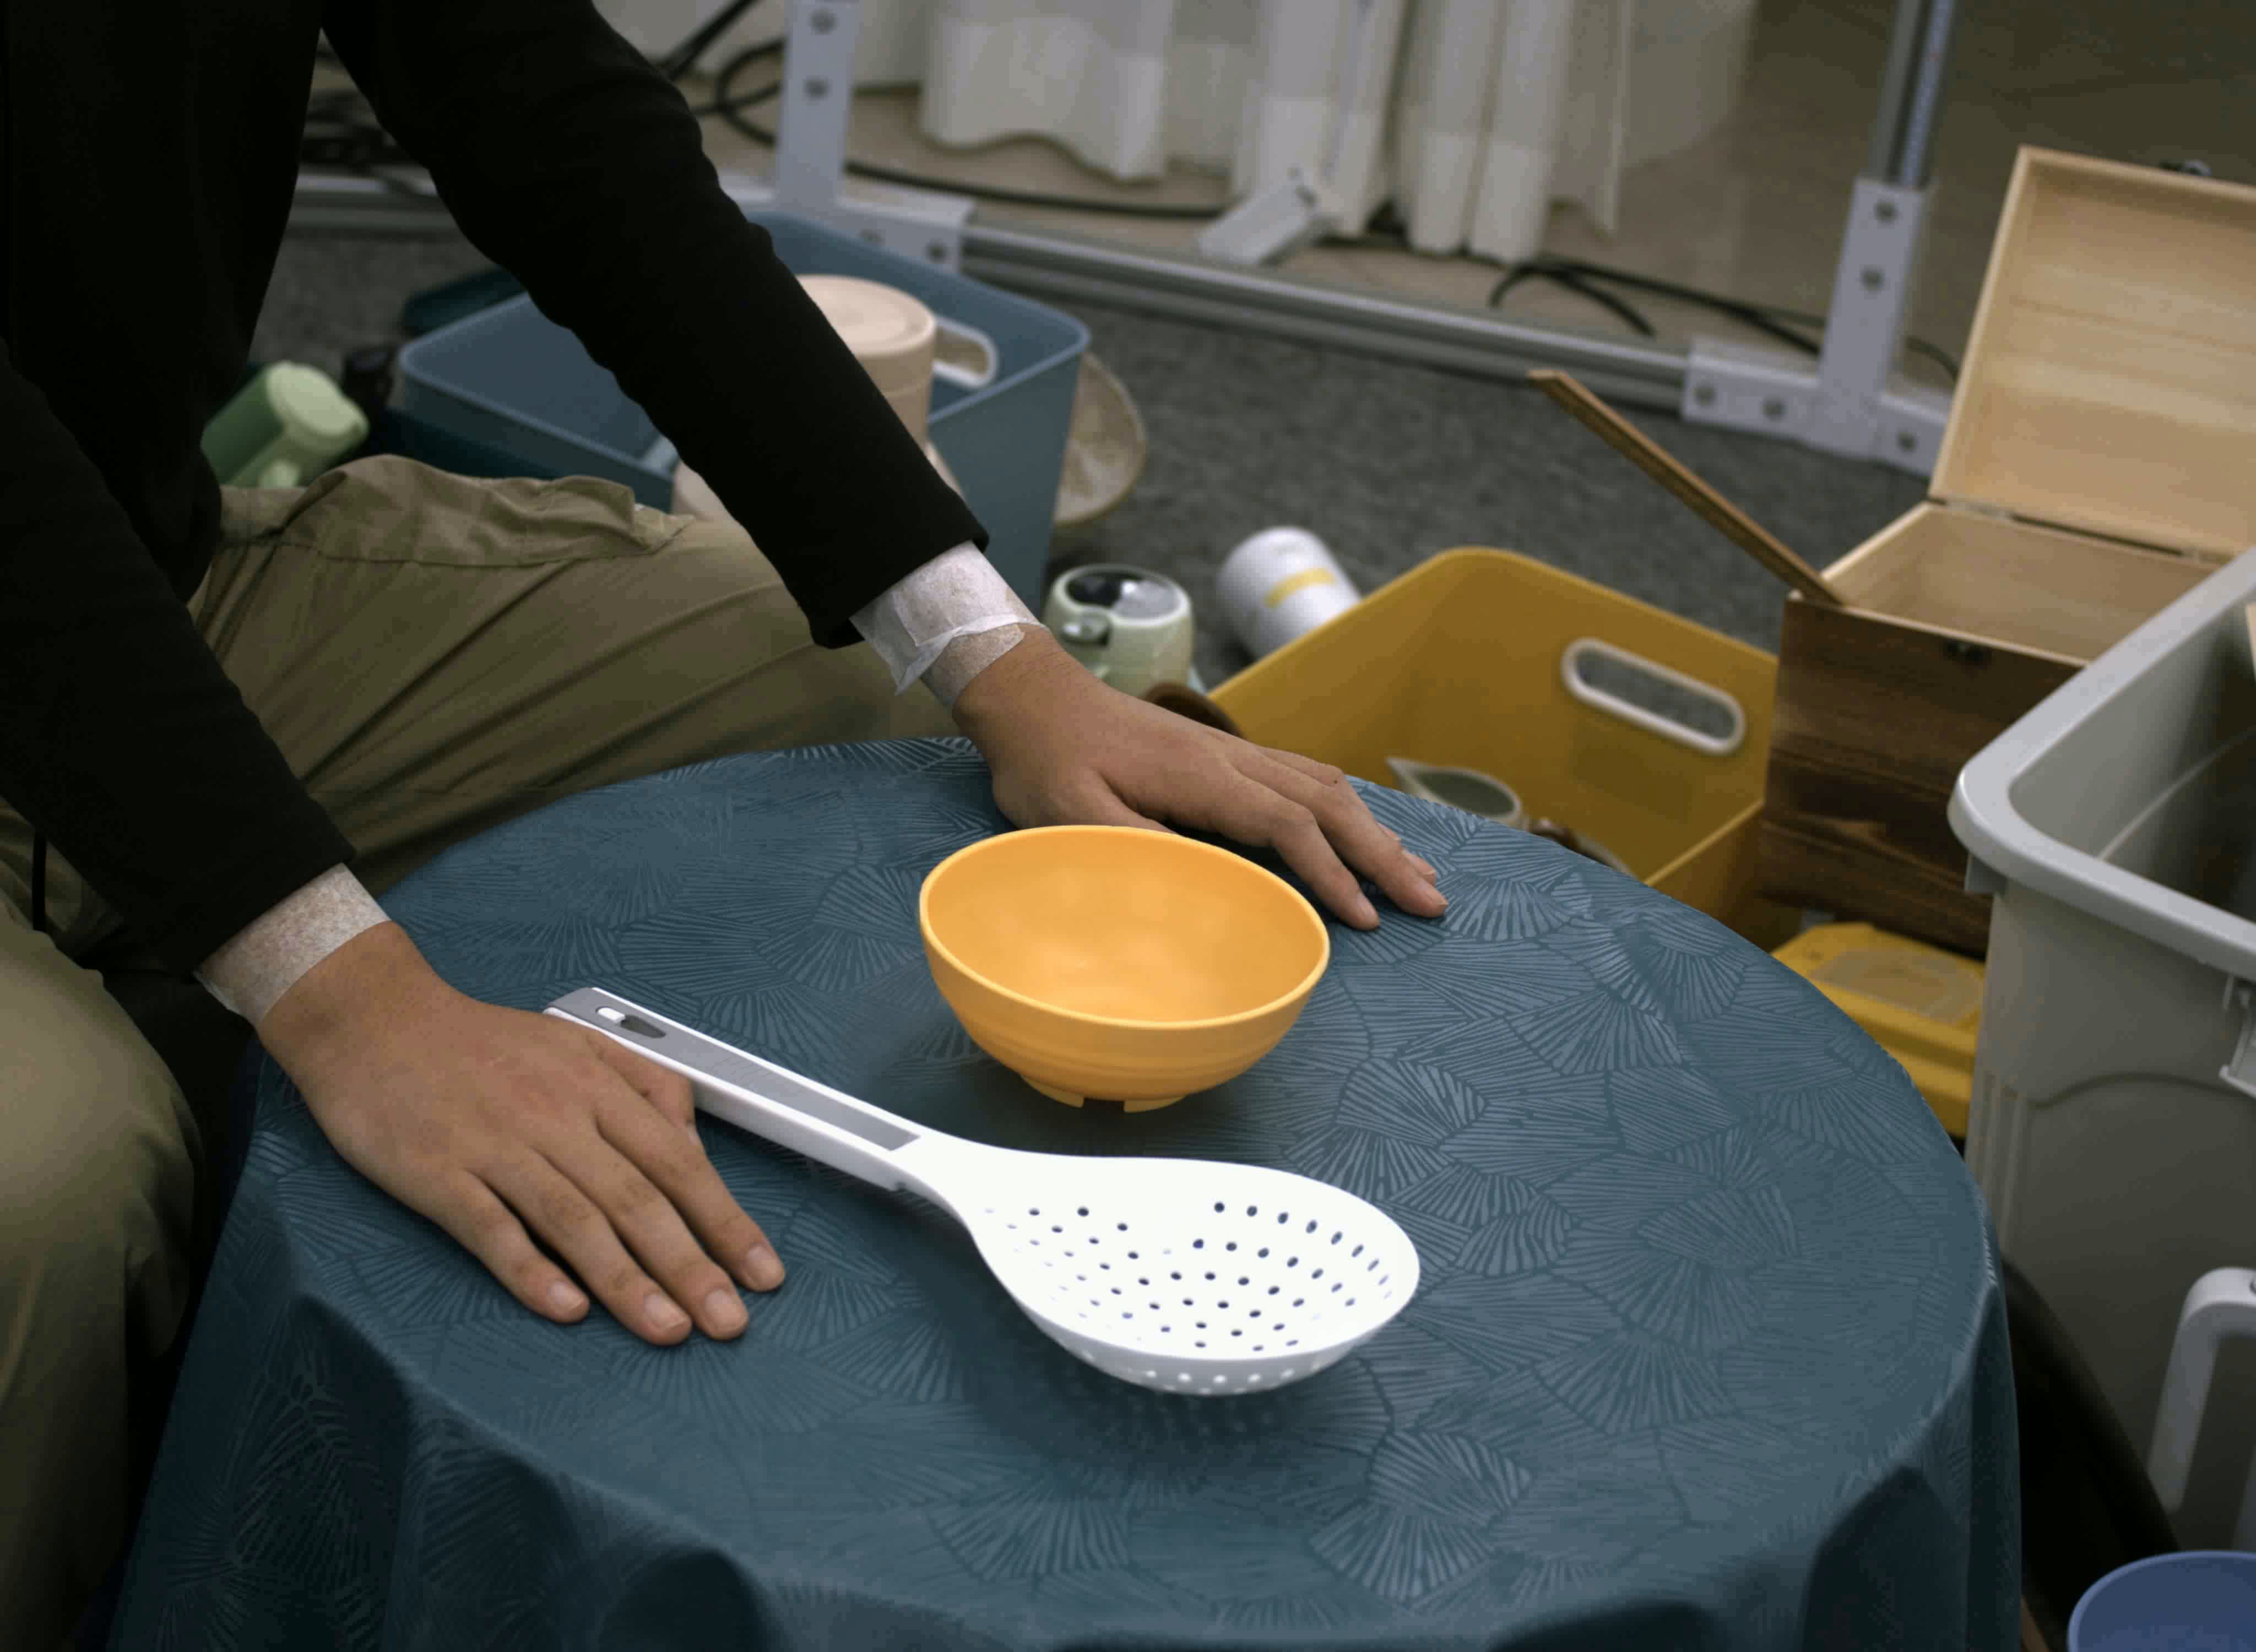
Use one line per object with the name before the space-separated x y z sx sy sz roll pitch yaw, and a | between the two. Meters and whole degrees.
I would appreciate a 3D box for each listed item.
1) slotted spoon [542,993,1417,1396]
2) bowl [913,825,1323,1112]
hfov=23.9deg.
slotted spoon | -0.061 0.114 1.756 0.352 0.045 0.135 24 31 32
bowl | -0.007 0.059 1.864 0.145 0.060 0.146 7 27 -4
